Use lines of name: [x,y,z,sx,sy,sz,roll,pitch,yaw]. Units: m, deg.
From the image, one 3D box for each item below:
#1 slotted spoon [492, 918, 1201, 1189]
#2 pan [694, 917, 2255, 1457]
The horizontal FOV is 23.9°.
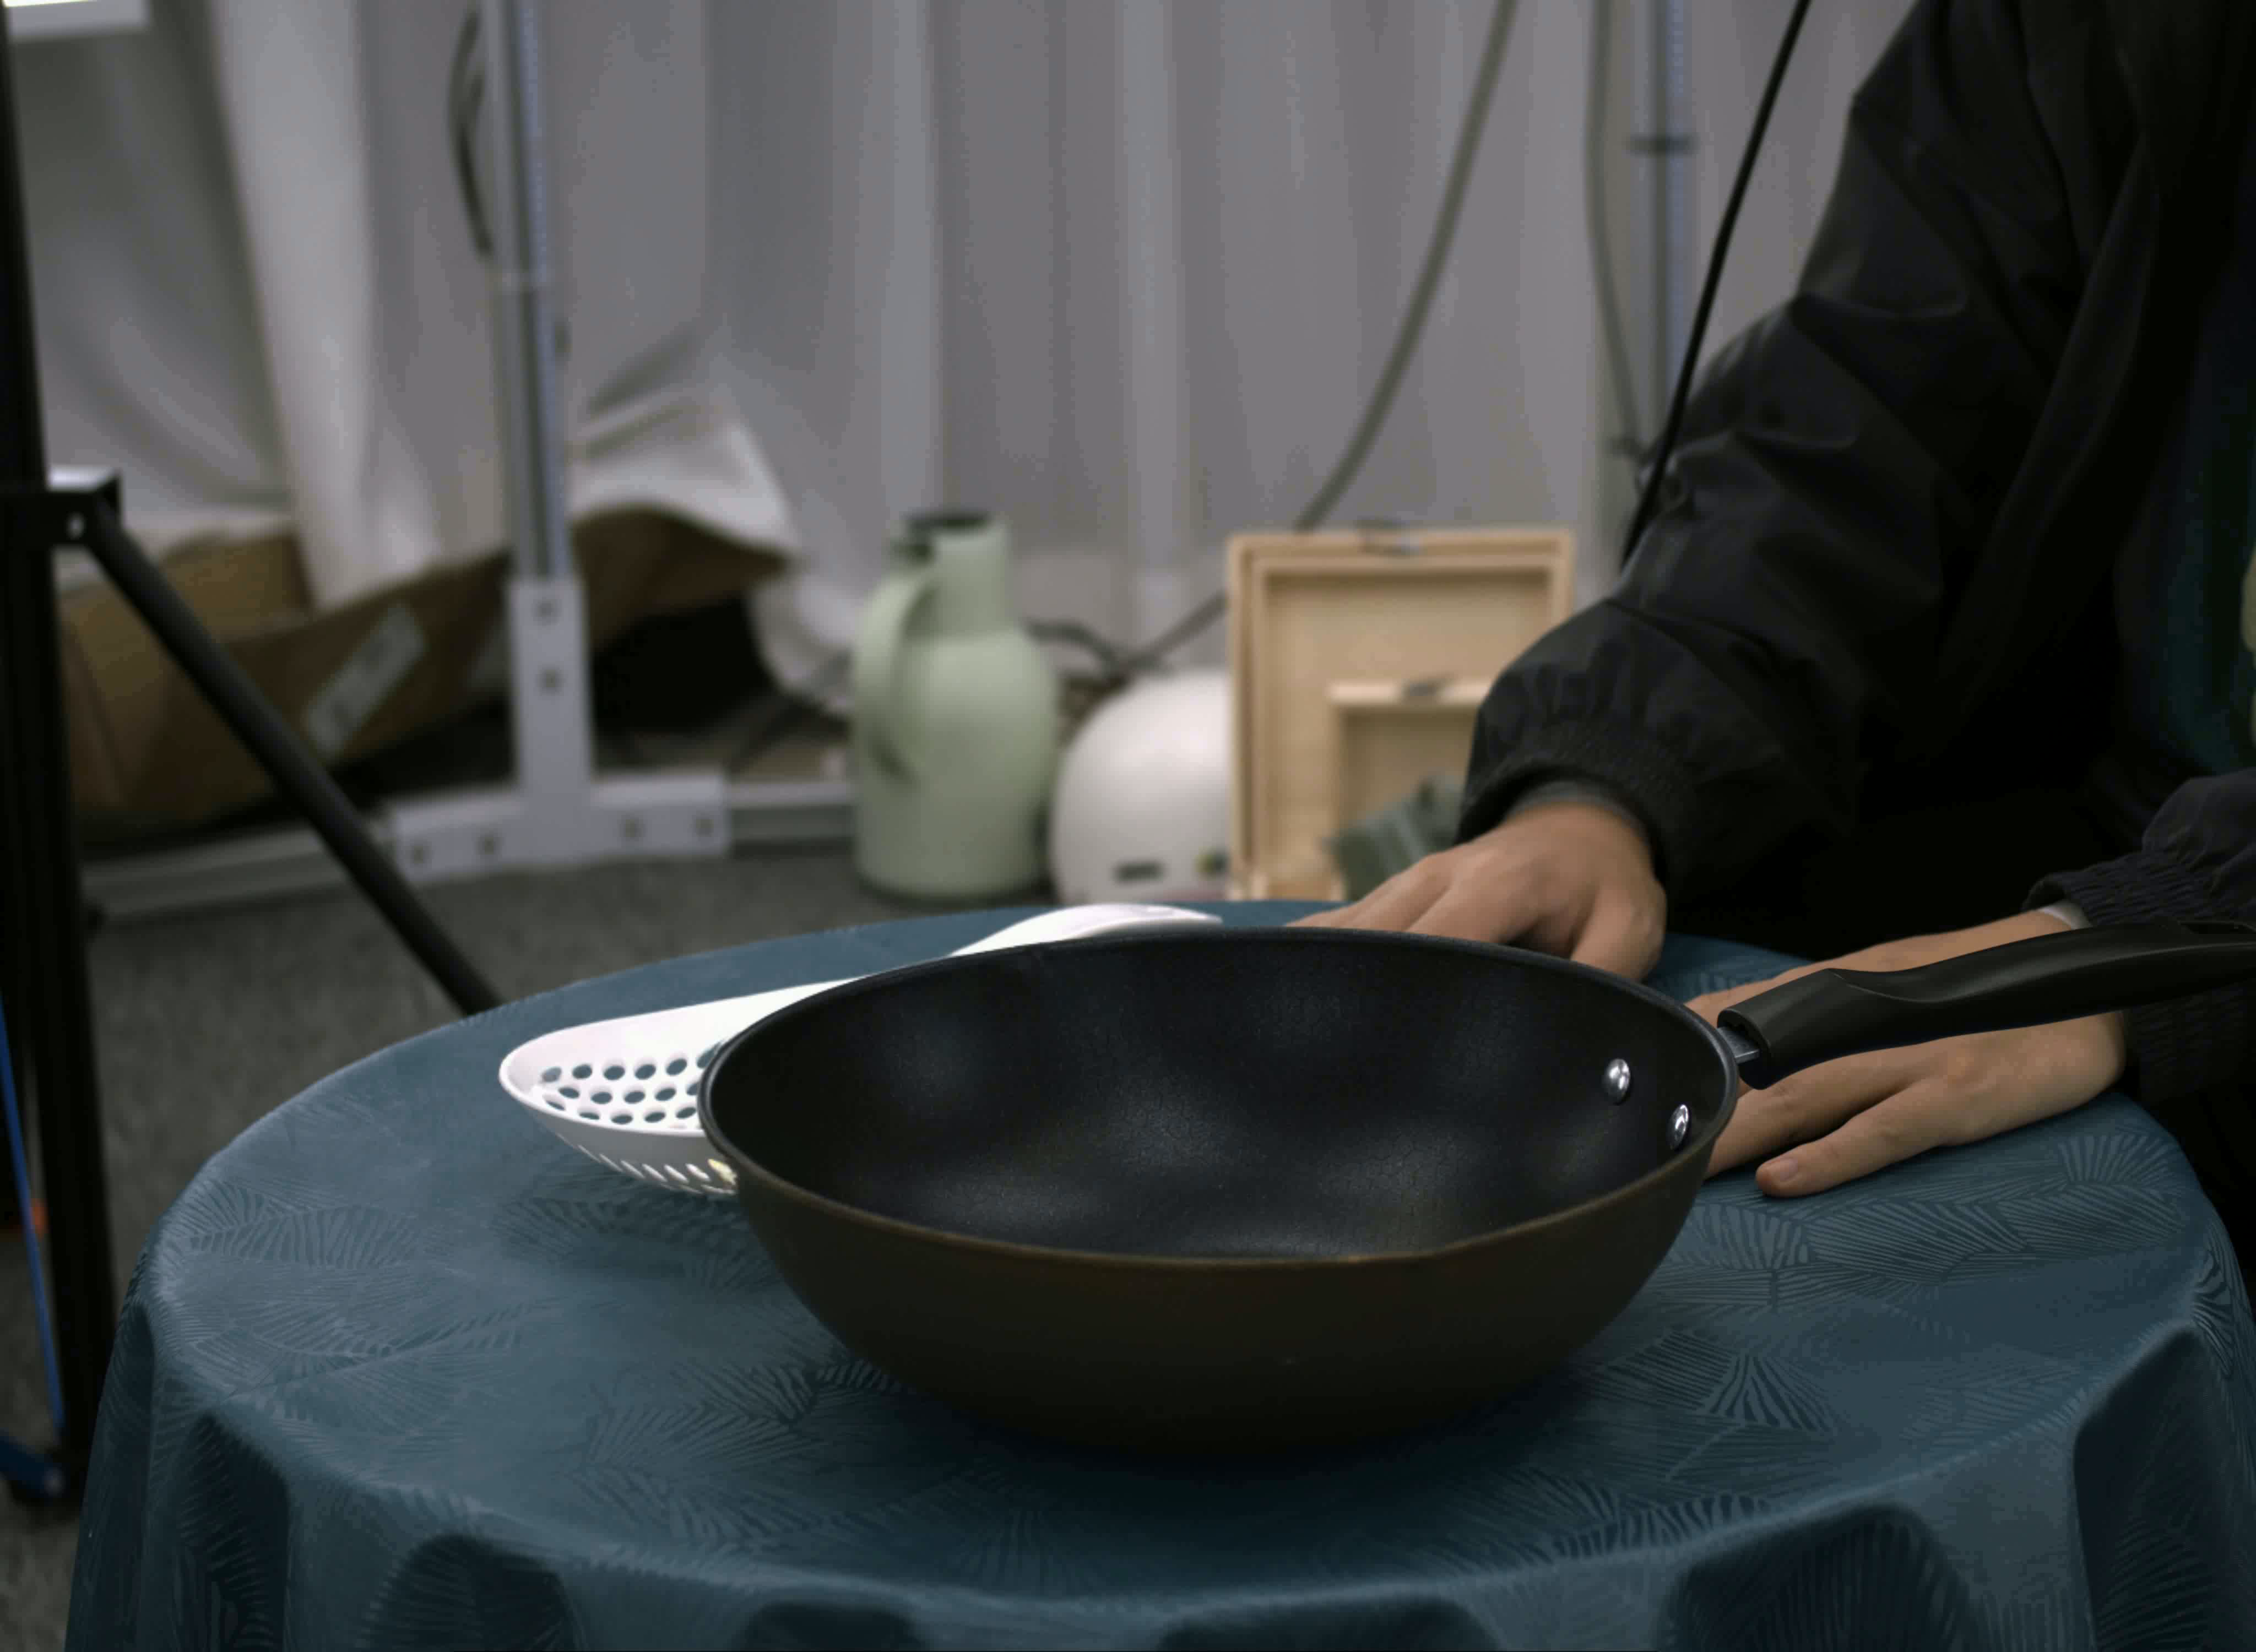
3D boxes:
slotted spoon: [-0.061,0.059,1.667,0.139,0.050,0.341,5,17,31]
pan: [0.109,0.092,1.446,0.455,0.087,0.293,-6,16,-17]
